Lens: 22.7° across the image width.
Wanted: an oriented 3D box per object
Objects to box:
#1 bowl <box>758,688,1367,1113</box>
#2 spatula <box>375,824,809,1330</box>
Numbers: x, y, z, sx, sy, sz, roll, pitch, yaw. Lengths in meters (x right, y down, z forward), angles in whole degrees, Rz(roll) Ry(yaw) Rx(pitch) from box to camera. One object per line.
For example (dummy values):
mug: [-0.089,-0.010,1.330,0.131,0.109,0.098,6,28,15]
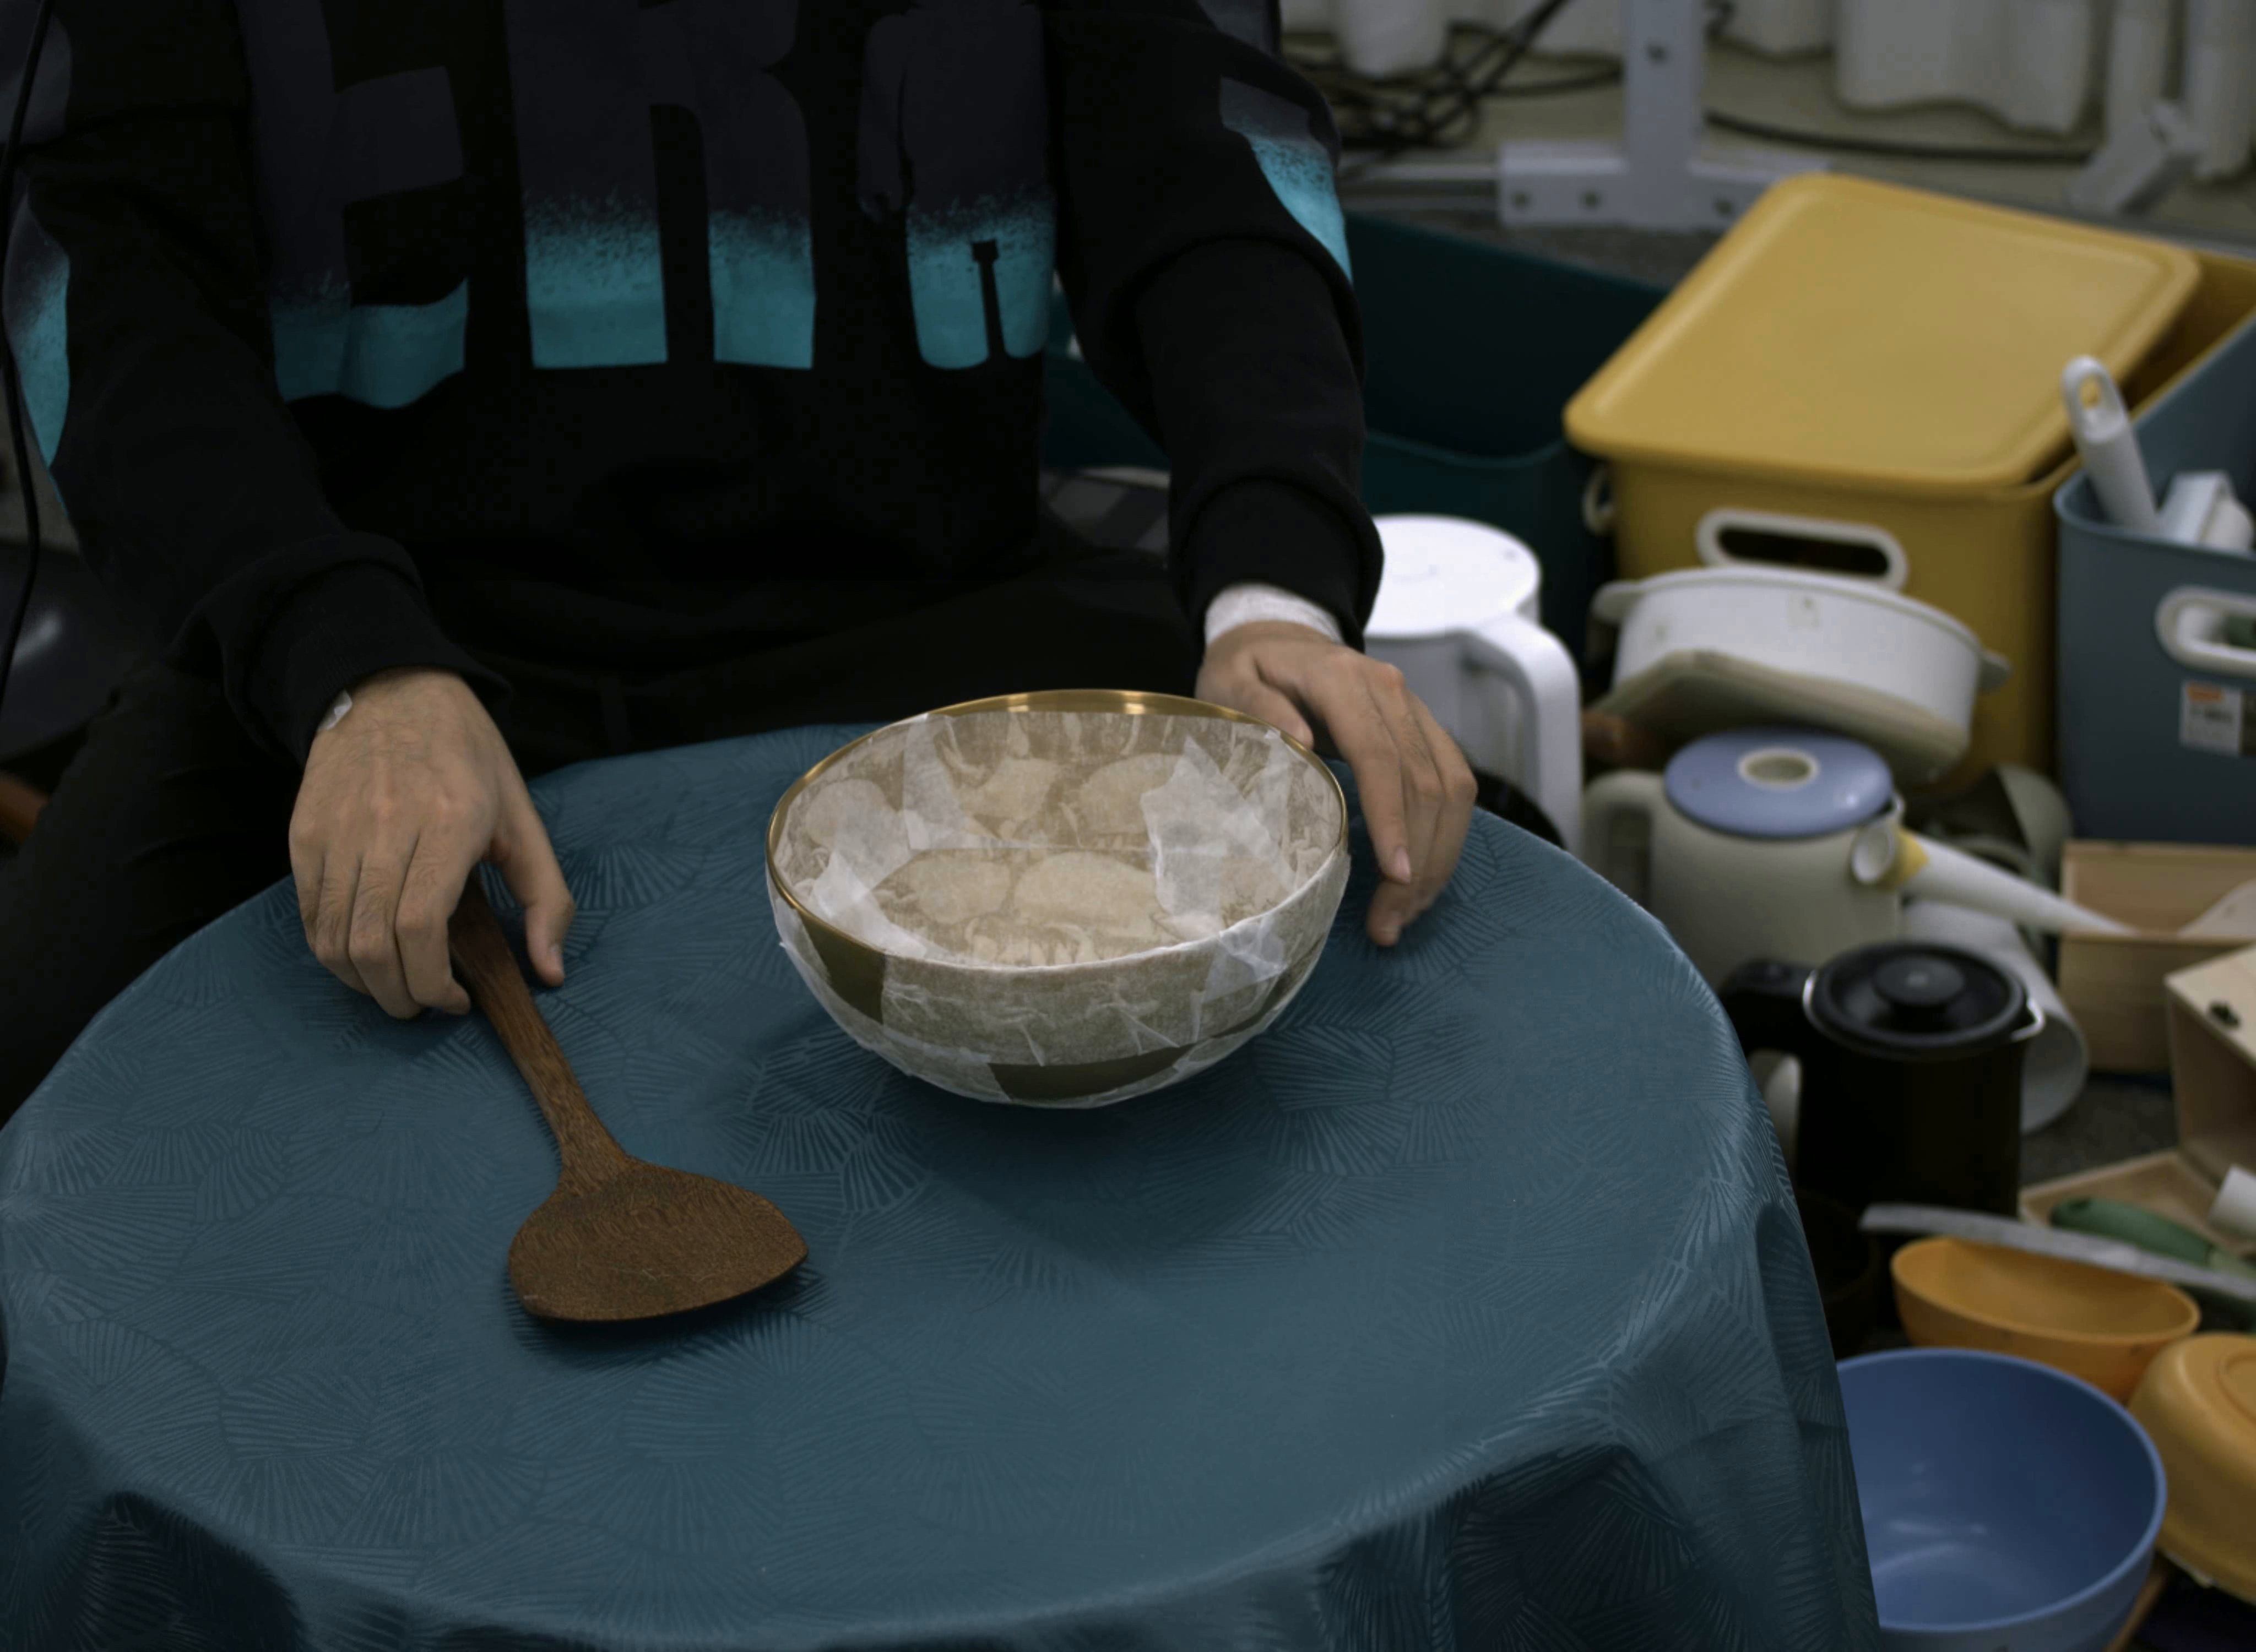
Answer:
bowl: [-0.020,0.037,1.929,0.213,0.093,0.218,-4,26,2]
spatula: [-0.207,0.079,1.951,0.096,0.015,0.389,-12,28,-17]
